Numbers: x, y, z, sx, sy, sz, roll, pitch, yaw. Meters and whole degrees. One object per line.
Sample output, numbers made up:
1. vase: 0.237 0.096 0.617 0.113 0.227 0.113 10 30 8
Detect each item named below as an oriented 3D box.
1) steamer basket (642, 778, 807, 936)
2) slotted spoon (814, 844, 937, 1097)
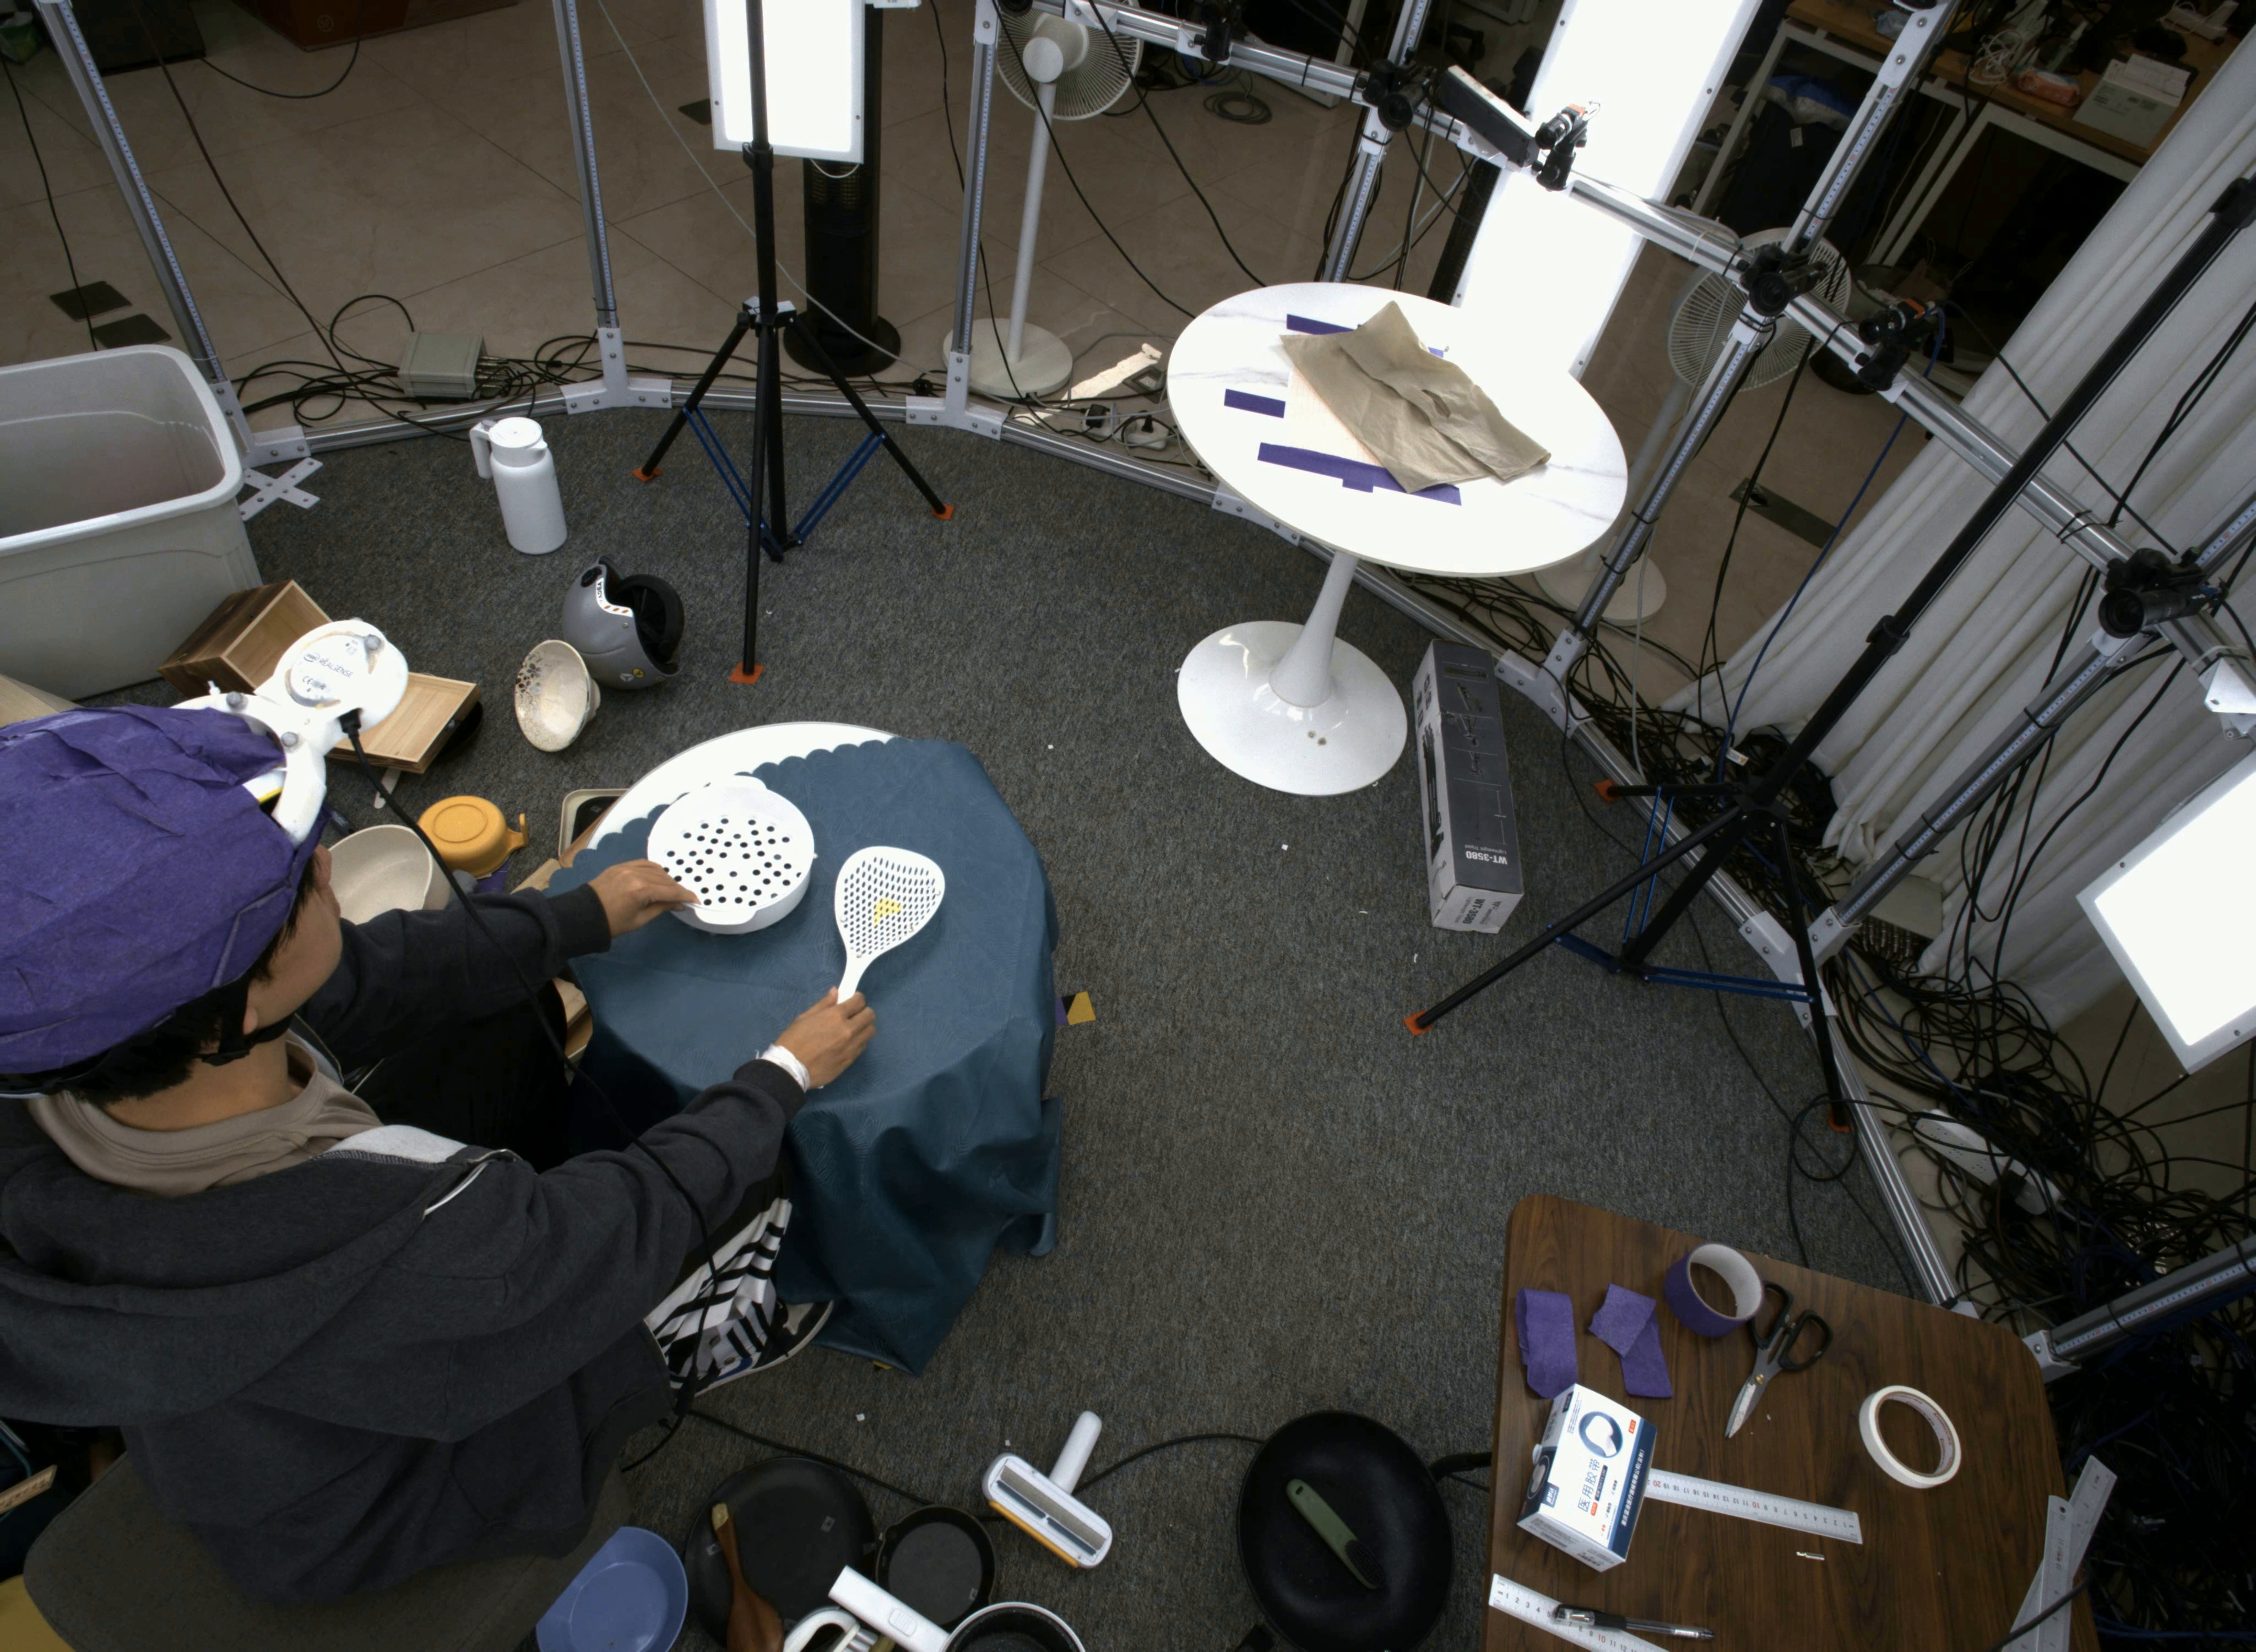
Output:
1. steamer basket: -0.507 0.043 1.630 0.202 0.070 0.225 2 52 -14
2. slotted spoon: -0.331 0.165 1.581 0.136 0.051 0.342 15 48 -3
